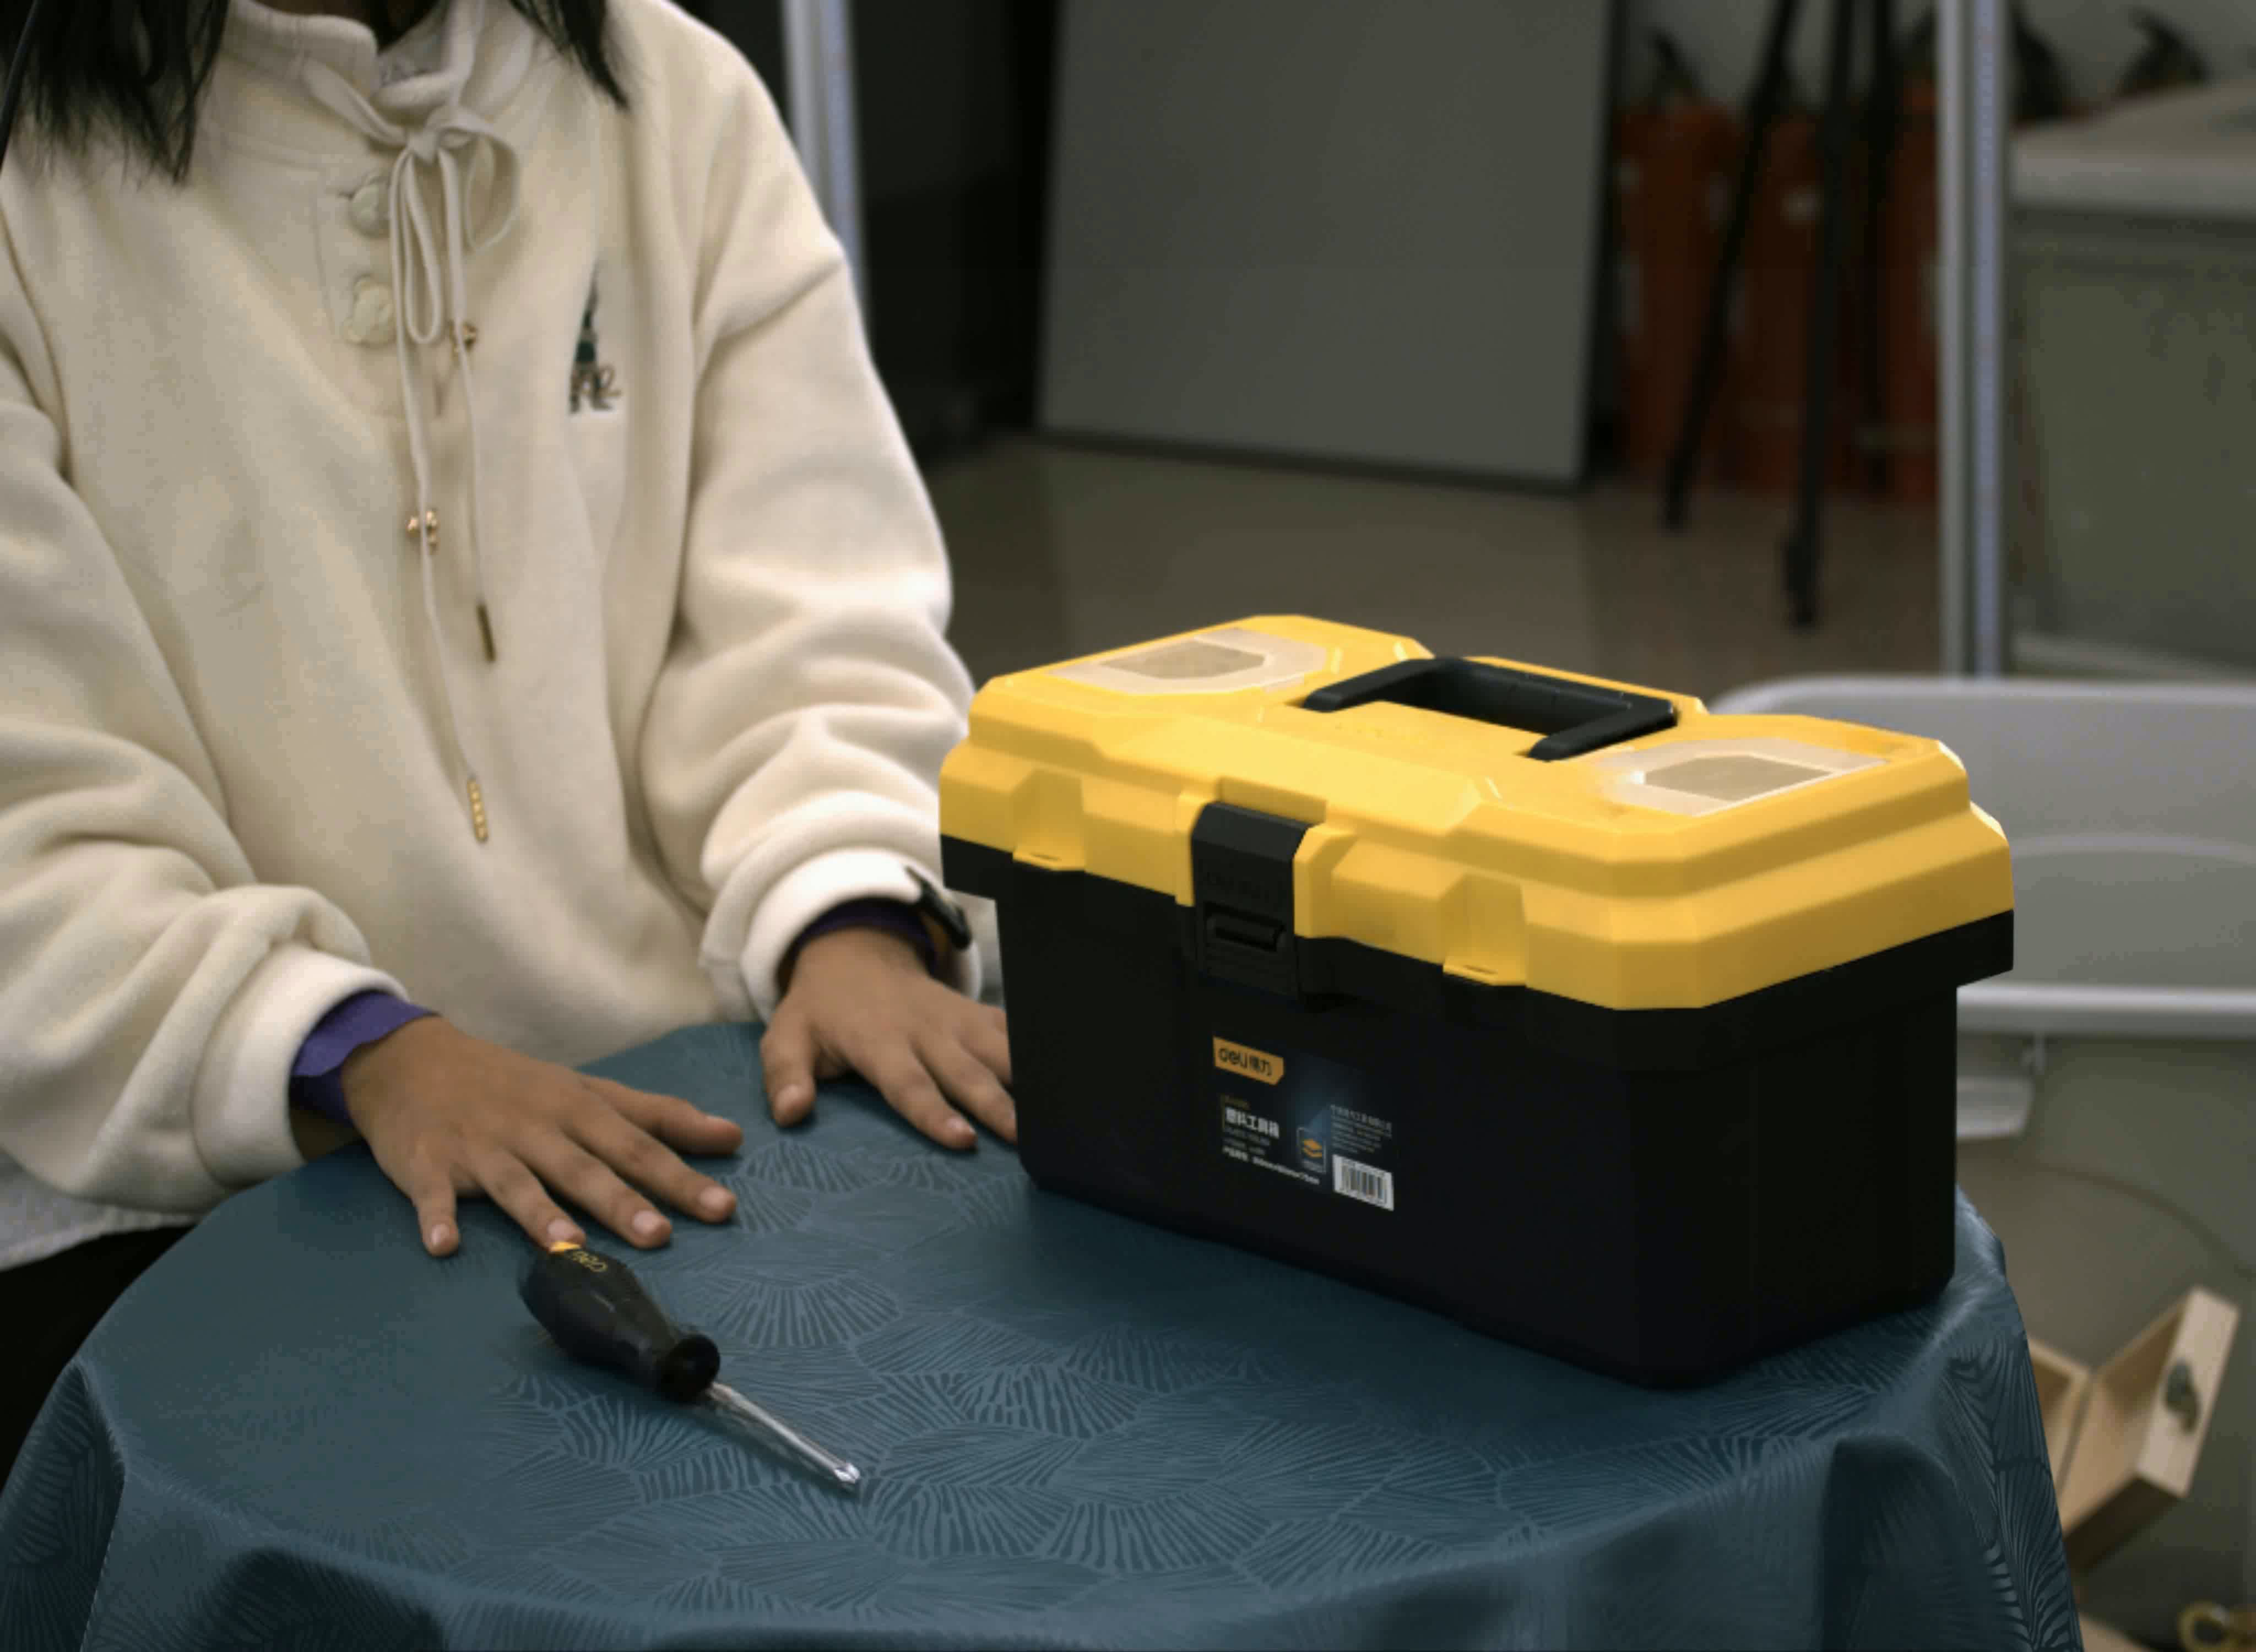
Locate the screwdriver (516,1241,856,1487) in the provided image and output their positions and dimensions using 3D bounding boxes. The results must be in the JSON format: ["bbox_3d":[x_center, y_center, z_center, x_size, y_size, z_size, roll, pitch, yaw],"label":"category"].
[{"bbox_3d":[-0.130,0.158,1.592,0.031,0.032,0.198,-11,16,-29],"label":"screwdriver"}]

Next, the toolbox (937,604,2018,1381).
[{"bbox_3d":[0.102,0.045,1.683,0.177,0.175,0.355,-14,17,-36],"label":"toolbox"}]
